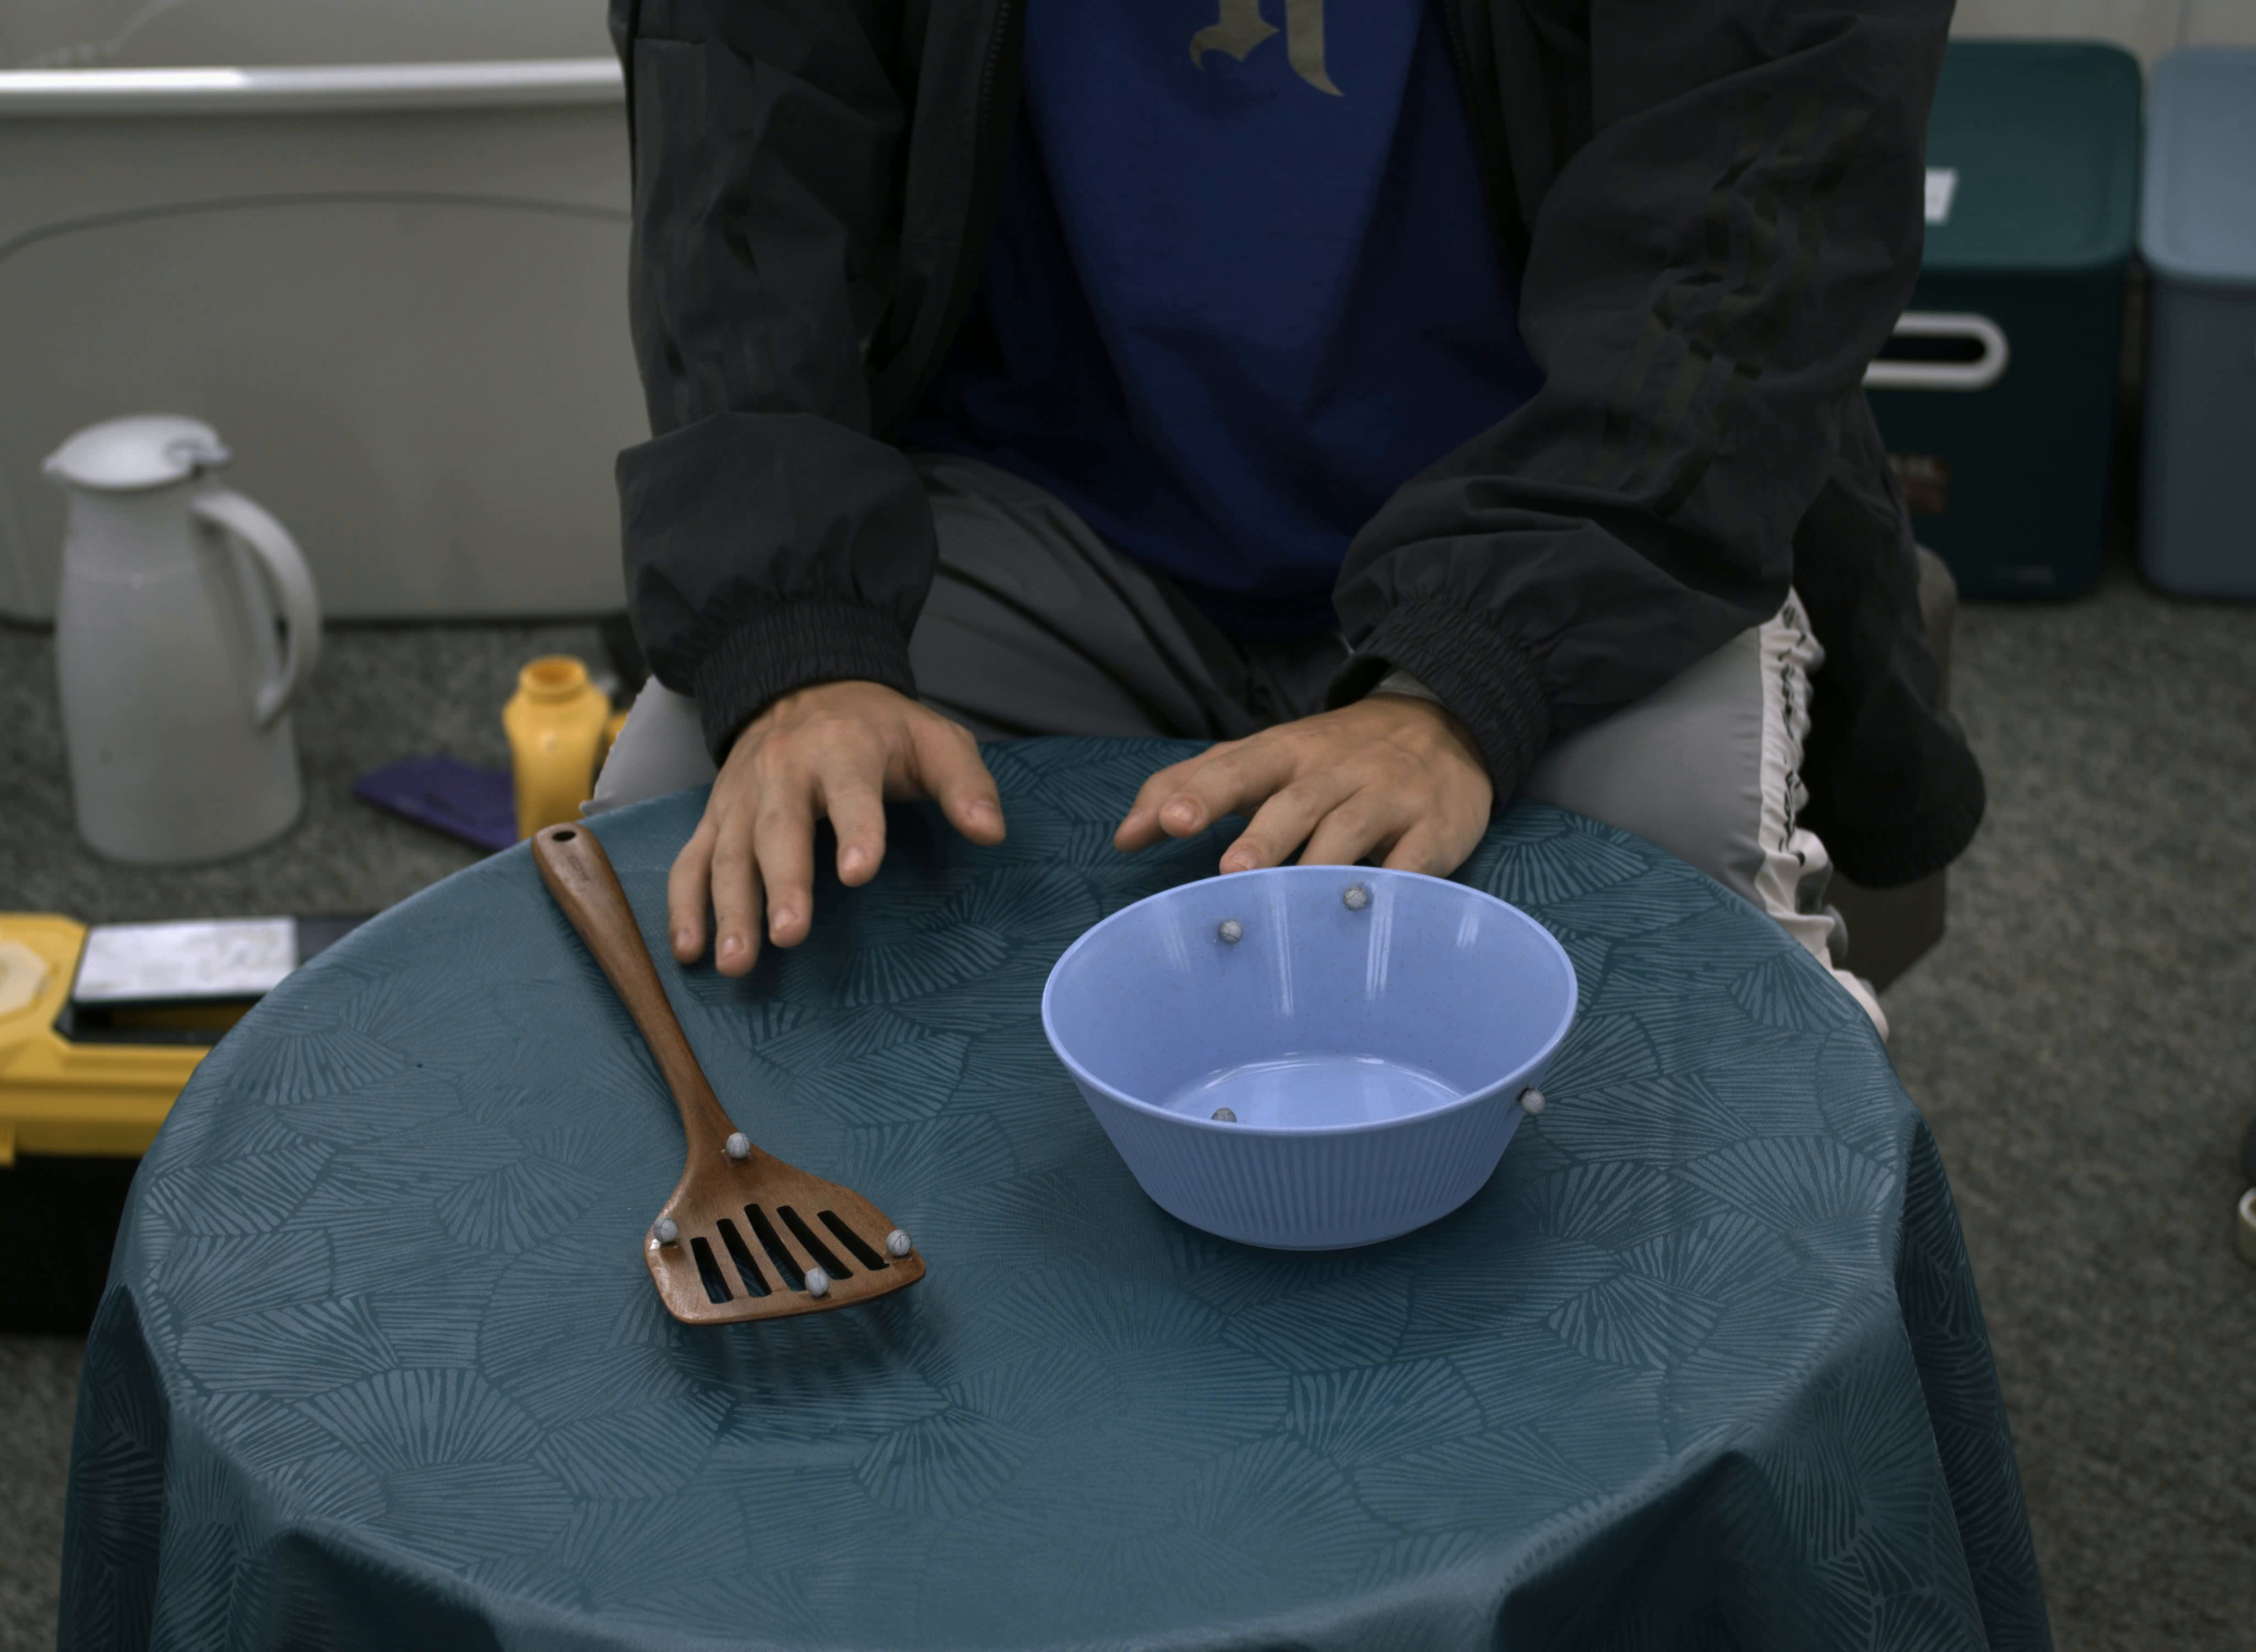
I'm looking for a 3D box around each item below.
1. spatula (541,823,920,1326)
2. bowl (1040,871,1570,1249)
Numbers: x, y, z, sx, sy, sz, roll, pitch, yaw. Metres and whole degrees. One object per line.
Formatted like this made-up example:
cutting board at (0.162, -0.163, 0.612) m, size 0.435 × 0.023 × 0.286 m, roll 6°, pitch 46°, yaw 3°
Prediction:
spatula at (-0.155, 0.083, 1.931) m, size 0.085 × 0.024 × 0.390 m, roll -9°, pitch 27°, yaw -14°
bowl at (0.059, 0.083, 1.854) m, size 0.175 × 0.069 × 0.178 m, roll -2°, pitch 26°, yaw 1°
